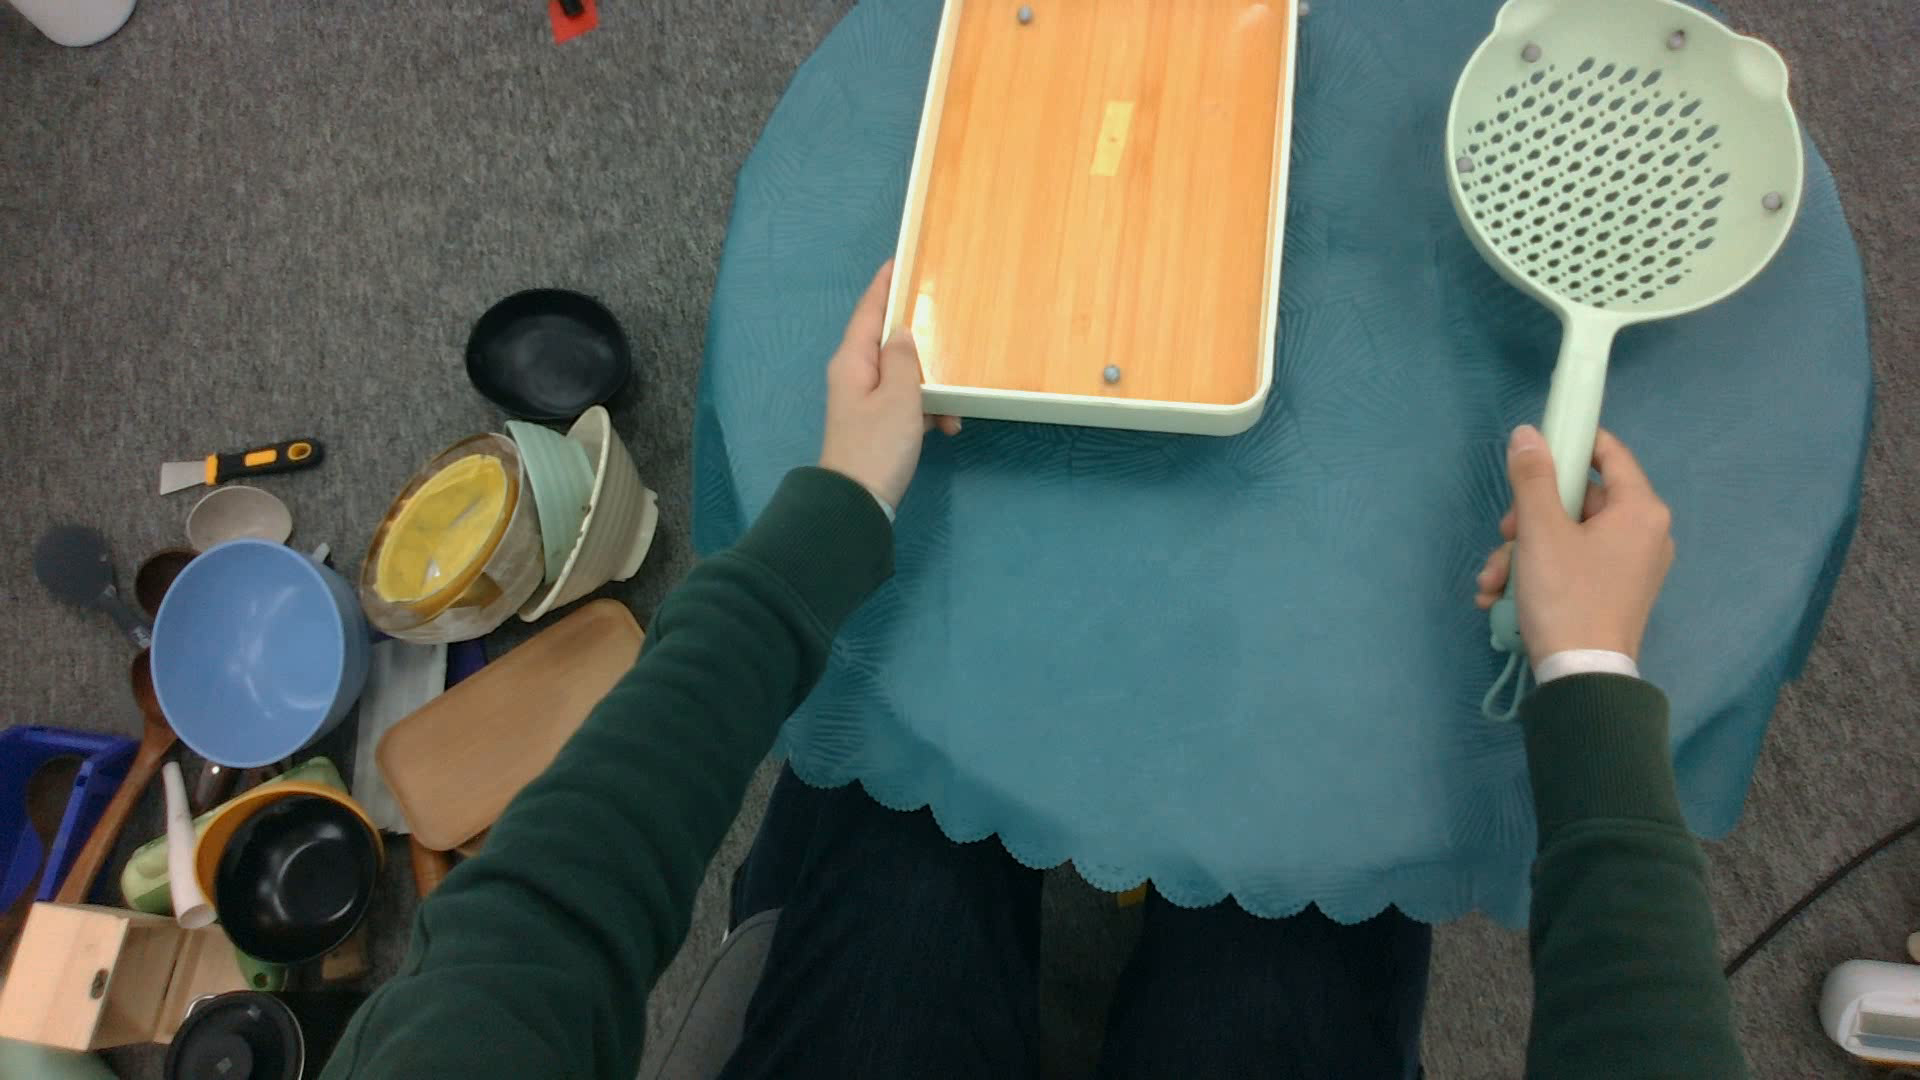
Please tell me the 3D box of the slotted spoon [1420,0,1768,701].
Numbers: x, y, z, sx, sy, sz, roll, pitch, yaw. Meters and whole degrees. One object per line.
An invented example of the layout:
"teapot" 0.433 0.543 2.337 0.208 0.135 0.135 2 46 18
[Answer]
"slotted spoon" 0.283 -0.101 0.658 0.169 0.075 0.360 14 69 3

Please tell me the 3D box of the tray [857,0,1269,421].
"tray" 0.061 -0.203 0.726 0.191 0.027 0.301 5 66 7
